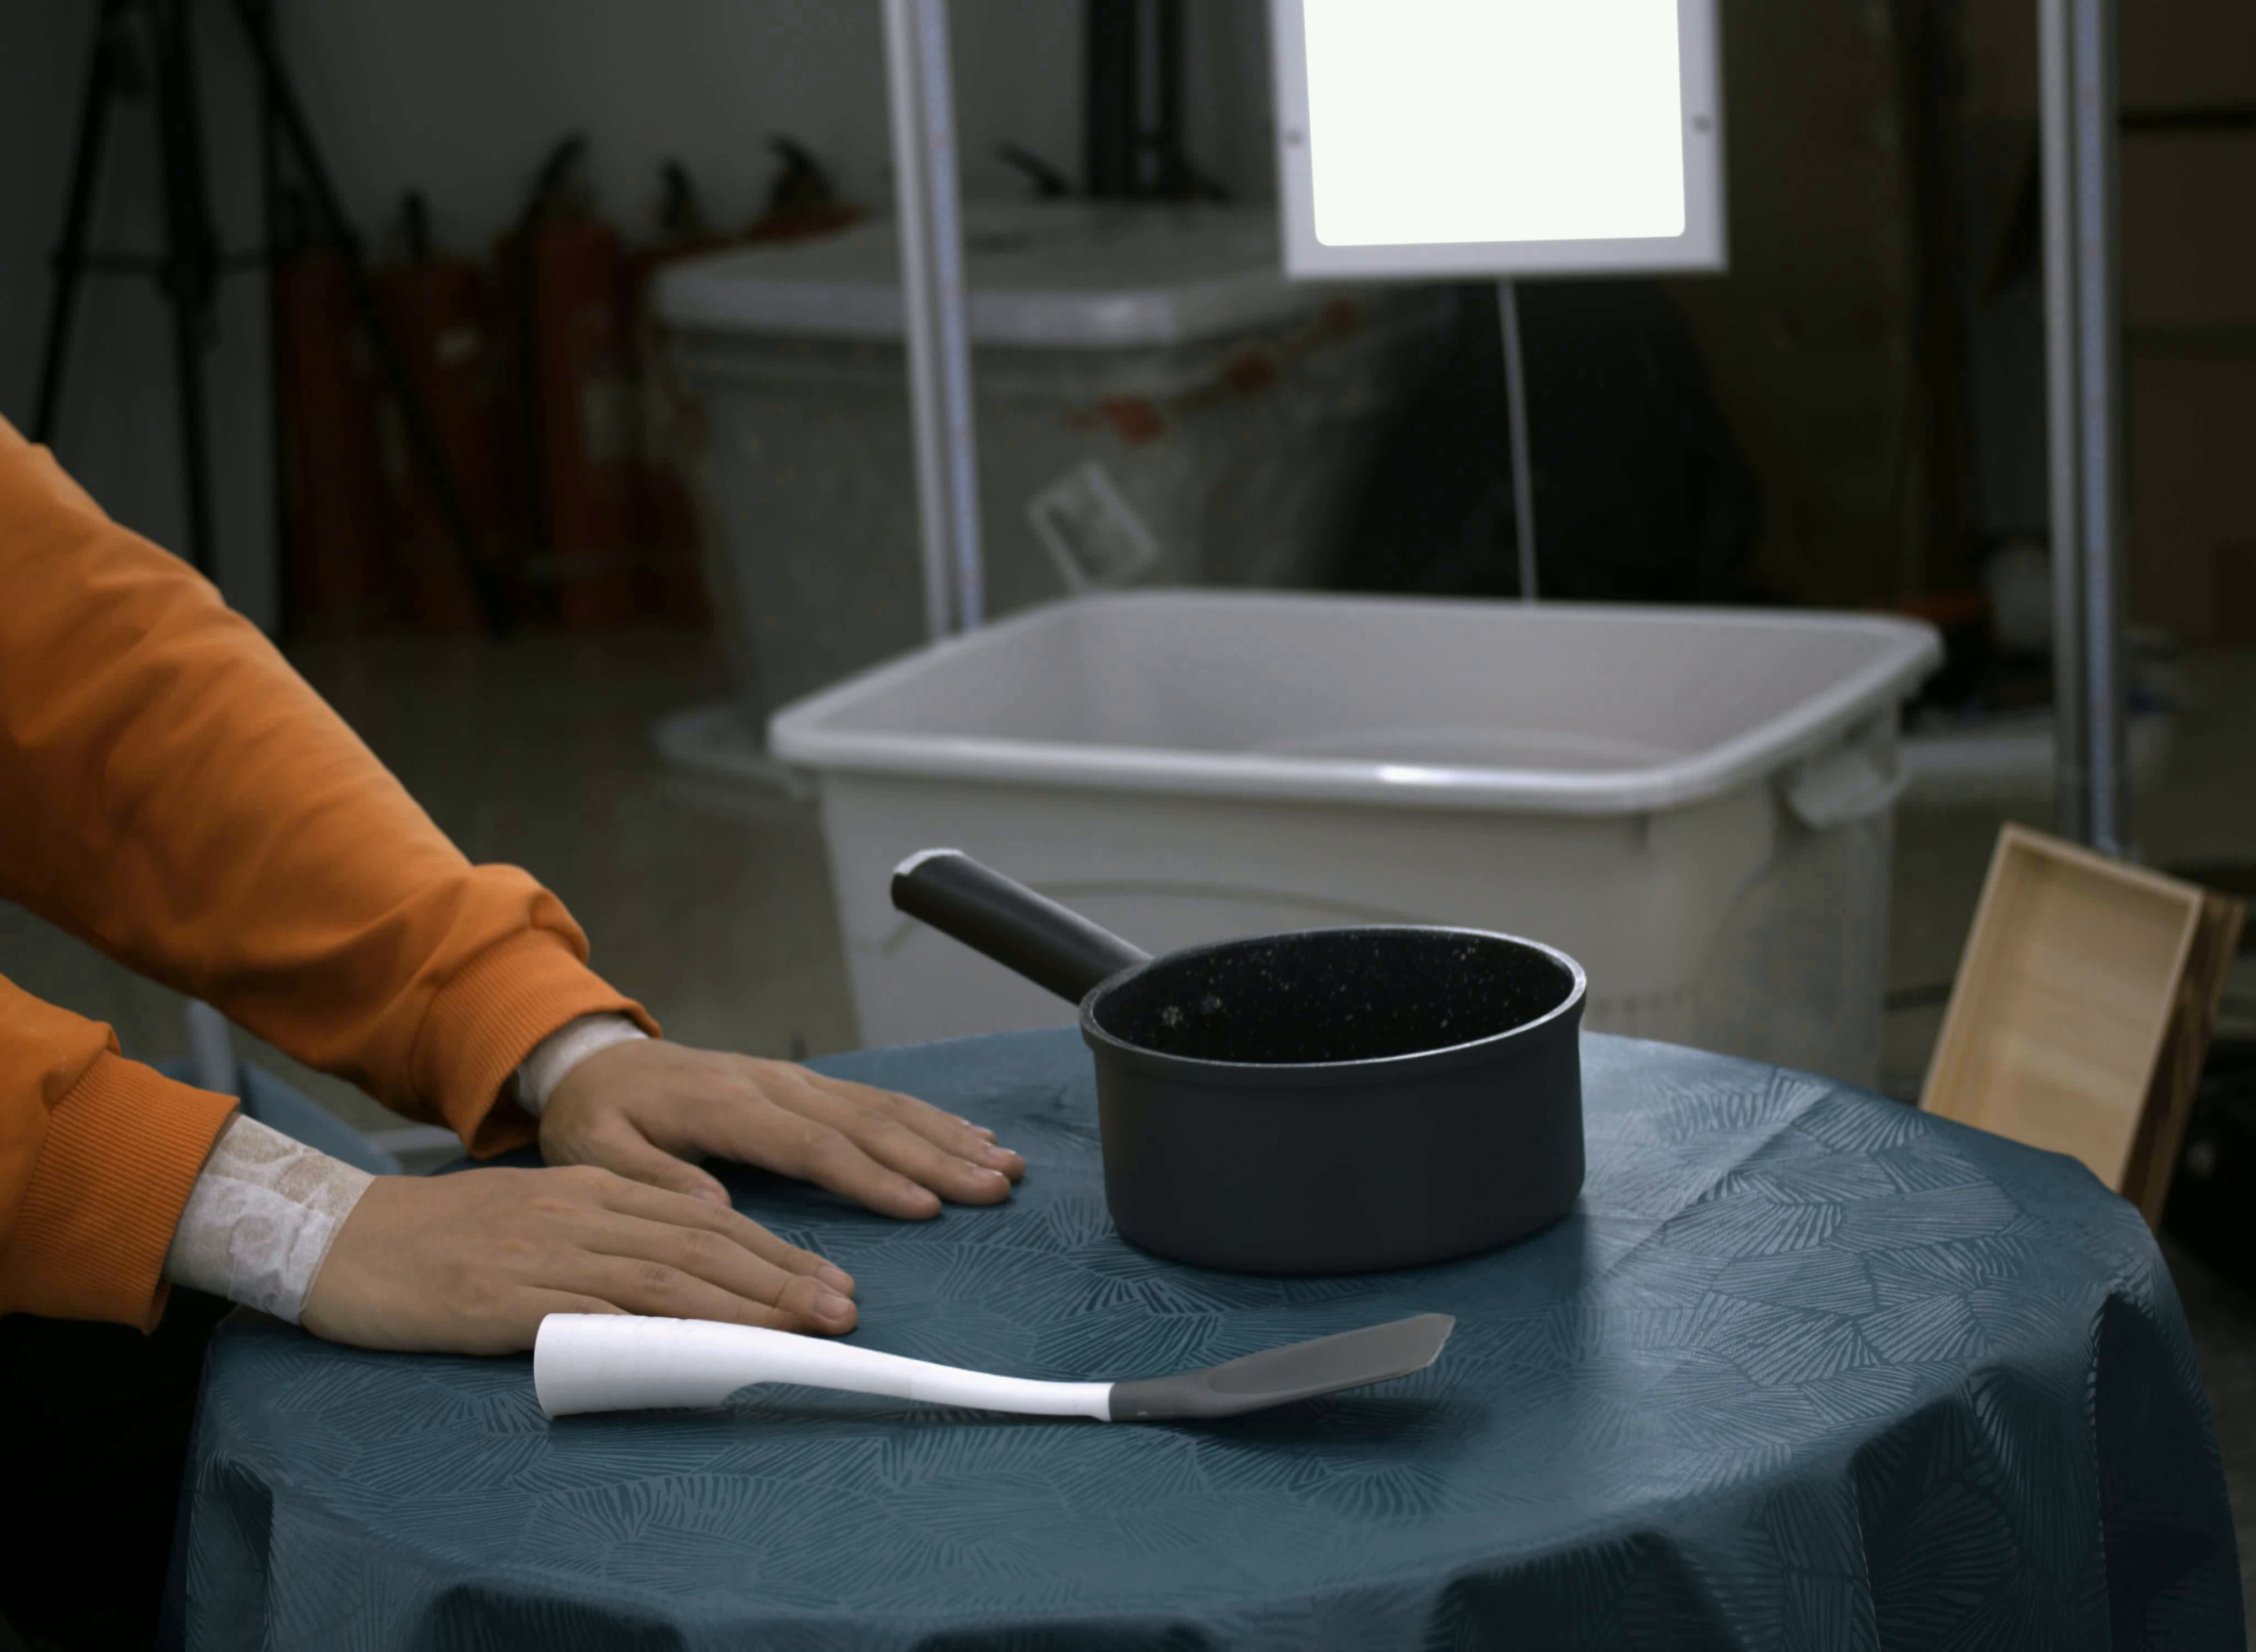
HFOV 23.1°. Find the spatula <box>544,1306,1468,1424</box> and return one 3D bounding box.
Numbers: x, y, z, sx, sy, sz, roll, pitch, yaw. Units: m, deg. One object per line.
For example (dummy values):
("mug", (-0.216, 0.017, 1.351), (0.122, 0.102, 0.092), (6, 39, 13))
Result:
("spatula", (-0.038, 0.166, 1.685), (0.290, 0.032, 0.058), (-2, 11, 16))

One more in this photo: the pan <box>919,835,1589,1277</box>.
("pan", (0.026, 0.075, 1.919), (0.168, 0.087, 0.335), (-13, 17, -31))
